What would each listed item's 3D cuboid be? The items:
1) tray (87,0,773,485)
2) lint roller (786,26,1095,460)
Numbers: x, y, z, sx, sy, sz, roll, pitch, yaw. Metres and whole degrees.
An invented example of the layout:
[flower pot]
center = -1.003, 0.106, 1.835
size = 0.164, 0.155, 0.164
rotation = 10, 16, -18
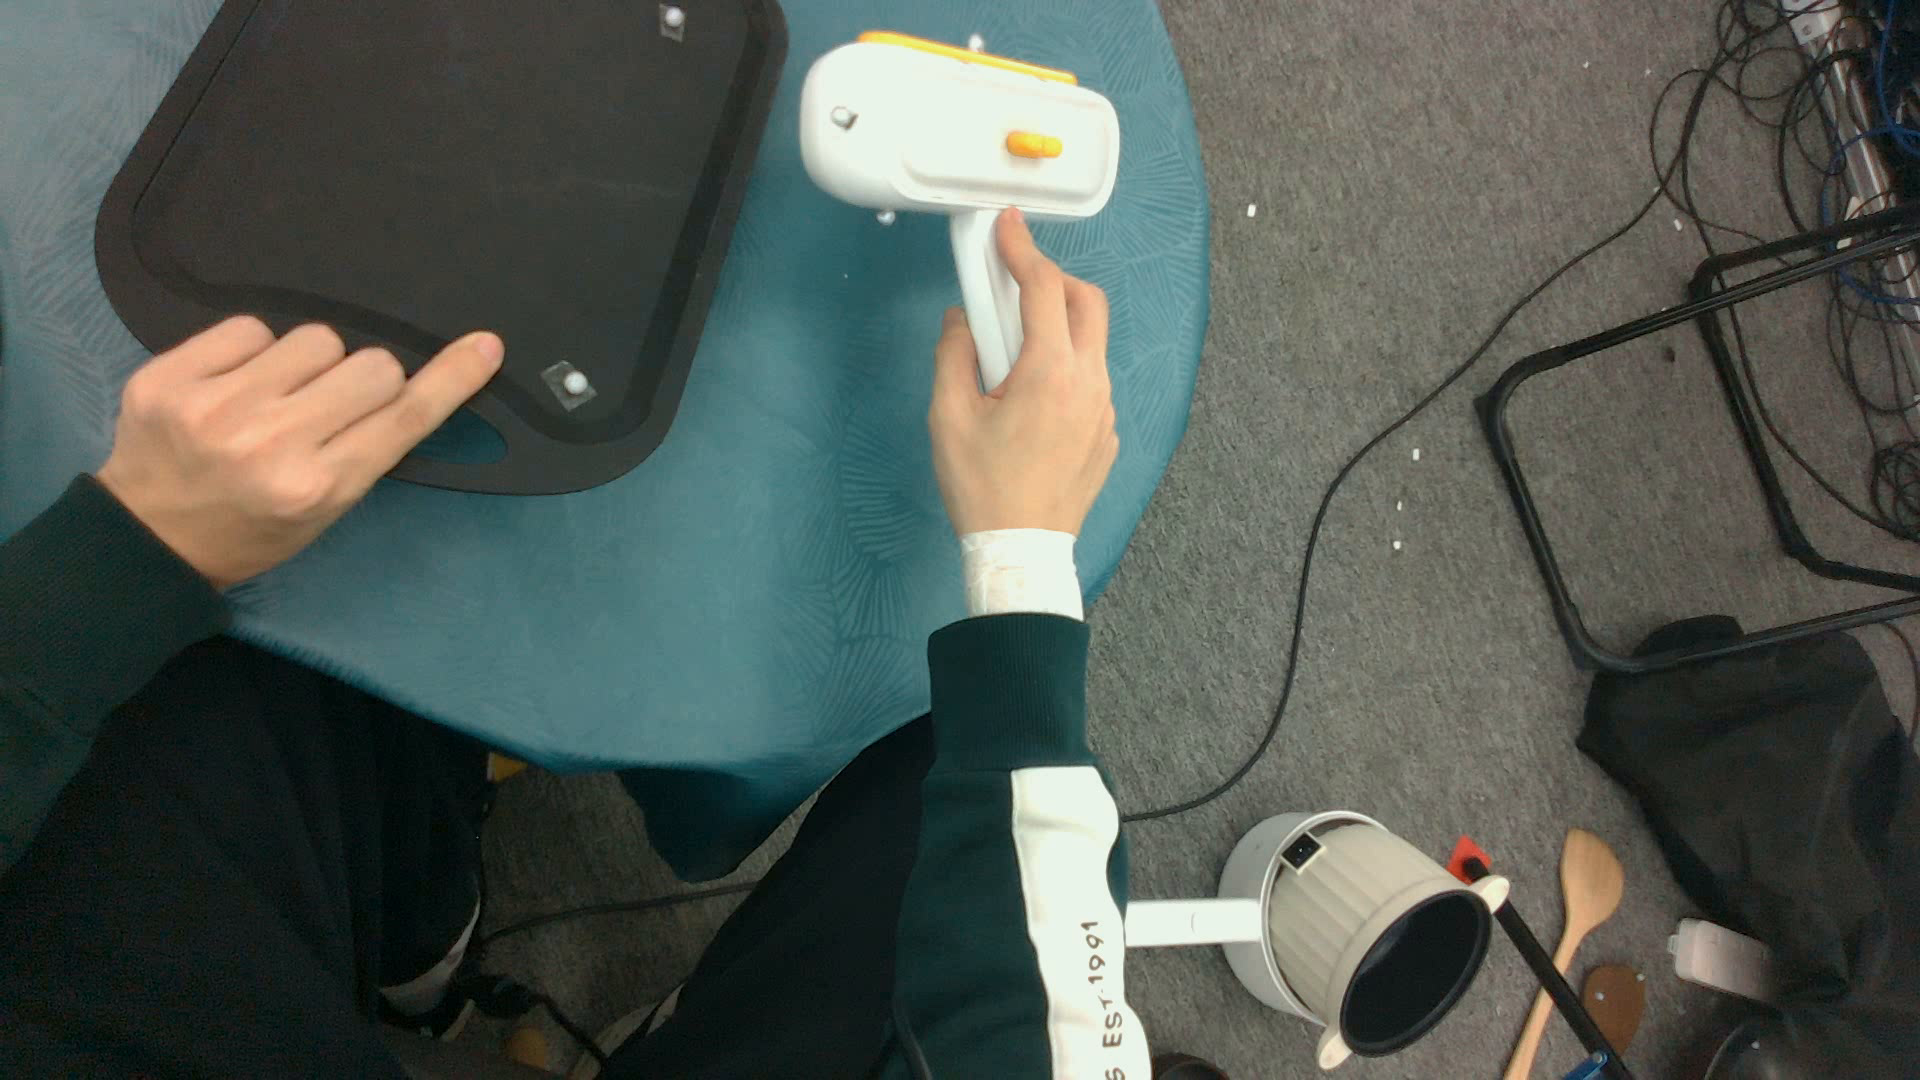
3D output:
[tray]
center = -0.197, -0.171, 0.568
size = 0.211, 0.010, 0.327
rotation = 21, 58, -20
[lint roller]
center = 0.008, -0.132, 0.635
size = 0.193, 0.074, 0.192
rotation = -23, 112, -56
